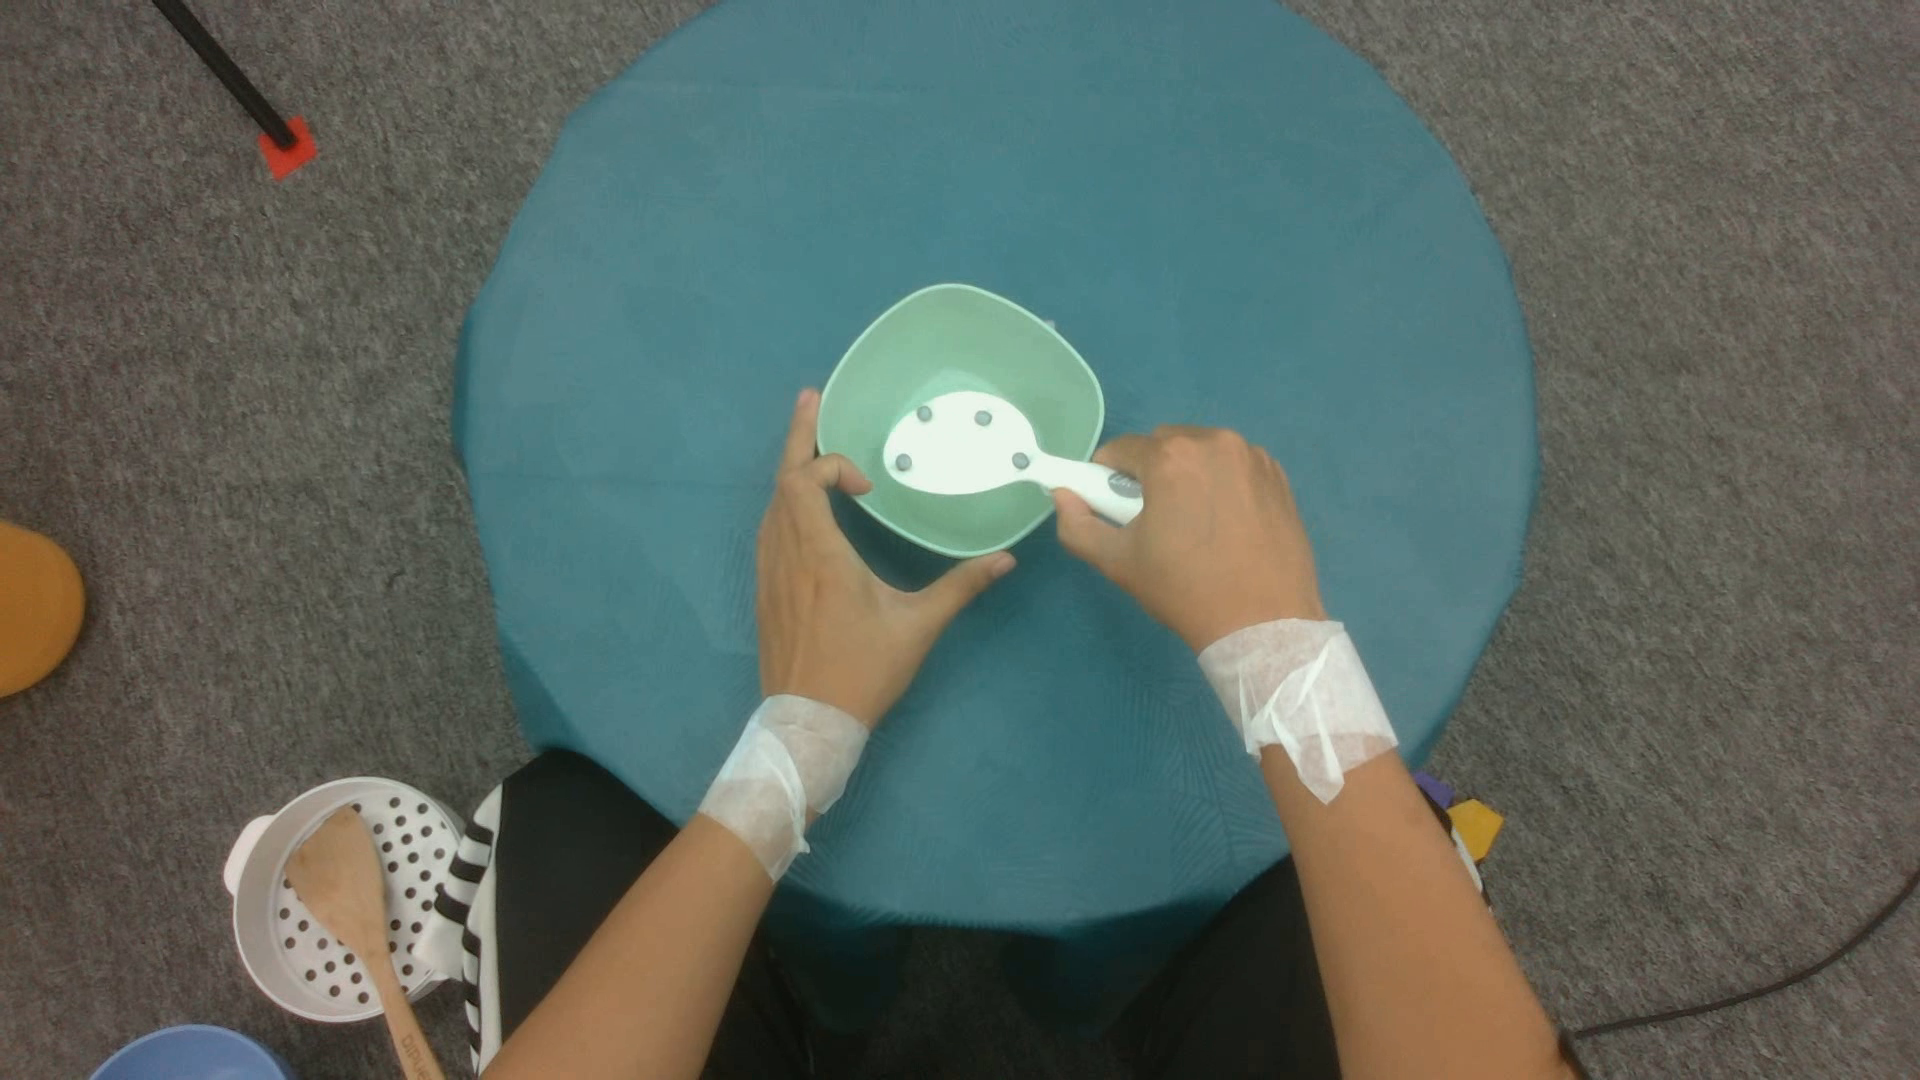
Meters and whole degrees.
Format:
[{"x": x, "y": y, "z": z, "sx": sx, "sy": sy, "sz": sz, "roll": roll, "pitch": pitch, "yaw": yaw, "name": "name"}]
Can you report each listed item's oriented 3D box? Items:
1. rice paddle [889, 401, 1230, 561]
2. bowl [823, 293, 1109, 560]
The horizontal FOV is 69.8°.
[{"x": 0.041, "y": -0.033, "z": 0.691, "sx": 0.205, "sy": 0.029, "sz": 0.069, "roll": 21, "pitch": 61, "yaw": 40, "name": "rice paddle"}, {"x": 0.003, "y": -0.054, "z": 0.749, "sx": 0.151, "sy": 0.058, "sz": 0.152, "roll": 0, "pitch": 72, "yaw": -1, "name": "bowl"}]
